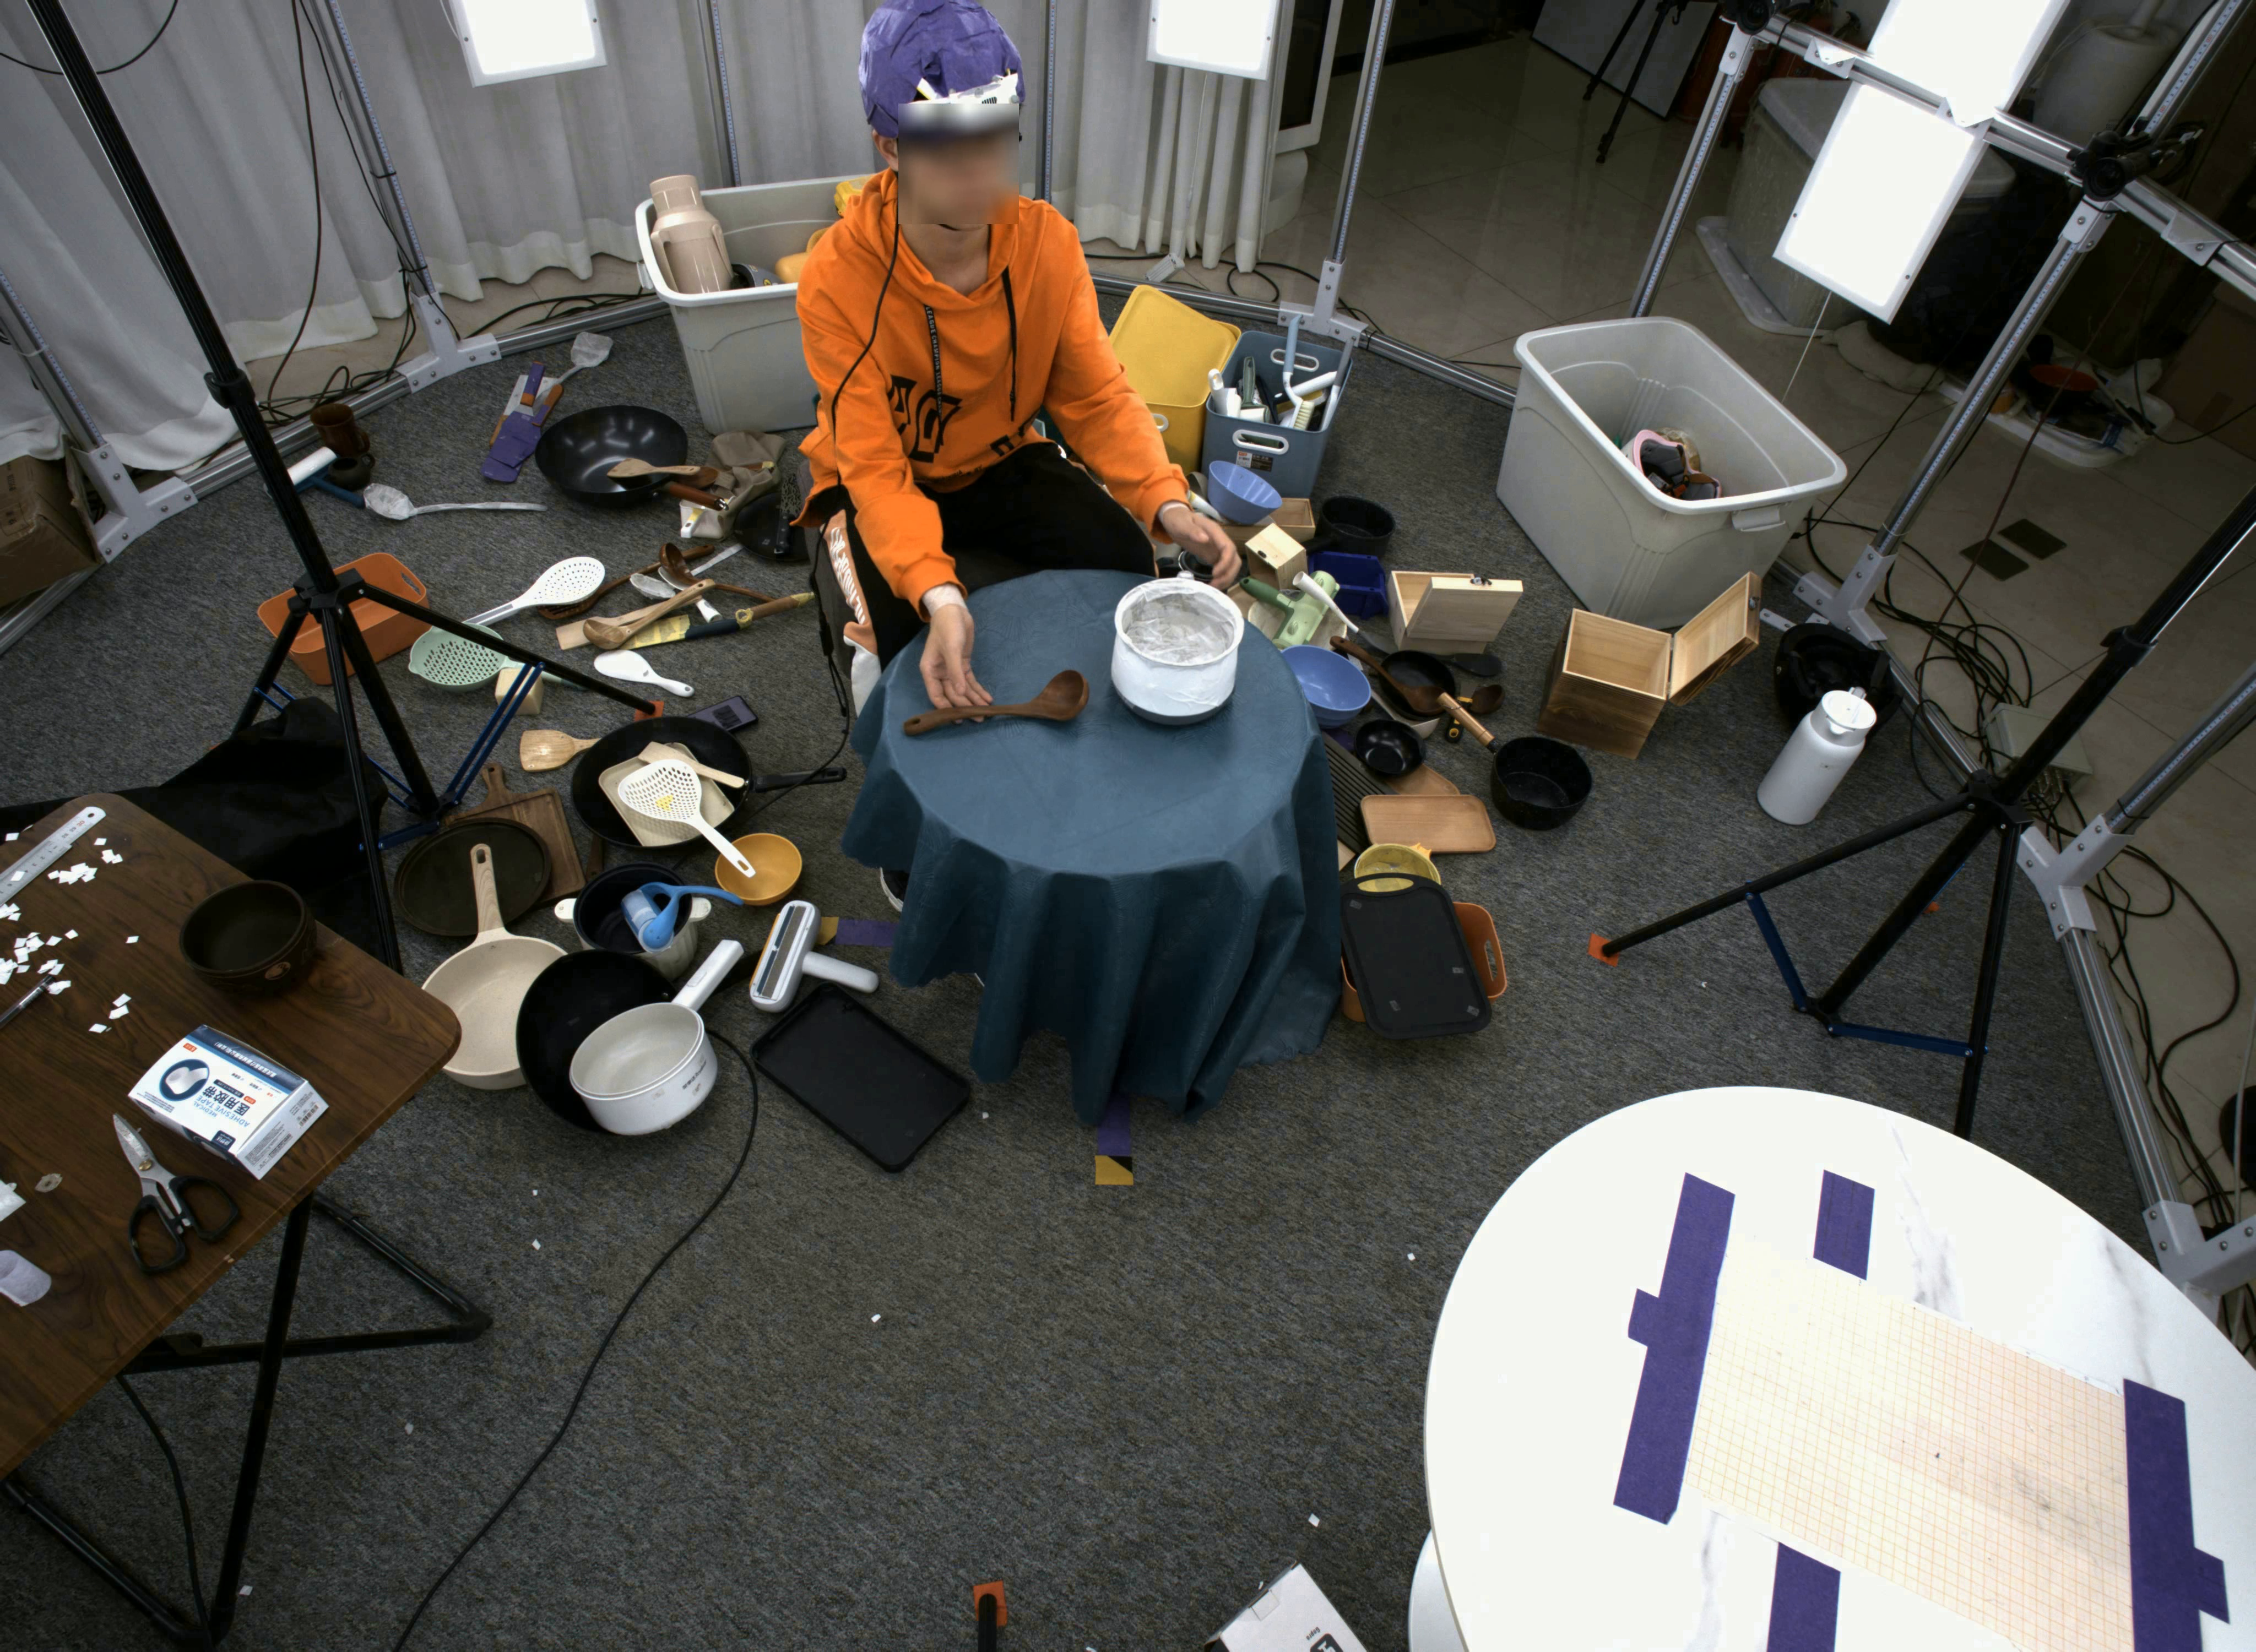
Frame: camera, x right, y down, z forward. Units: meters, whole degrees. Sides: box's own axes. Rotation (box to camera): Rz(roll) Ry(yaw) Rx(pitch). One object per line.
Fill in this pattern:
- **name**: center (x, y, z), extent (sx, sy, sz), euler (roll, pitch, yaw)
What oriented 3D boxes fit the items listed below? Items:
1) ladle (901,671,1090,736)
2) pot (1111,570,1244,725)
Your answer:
- **ladle**: center (-0.181, -0.166, 1.759), extent (0.260, 0.063, 0.078), euler (-7, 48, -10)
- **pot**: center (0.069, -0.261, 1.811), extent (0.178, 0.133, 0.239), euler (6, 49, 1)
